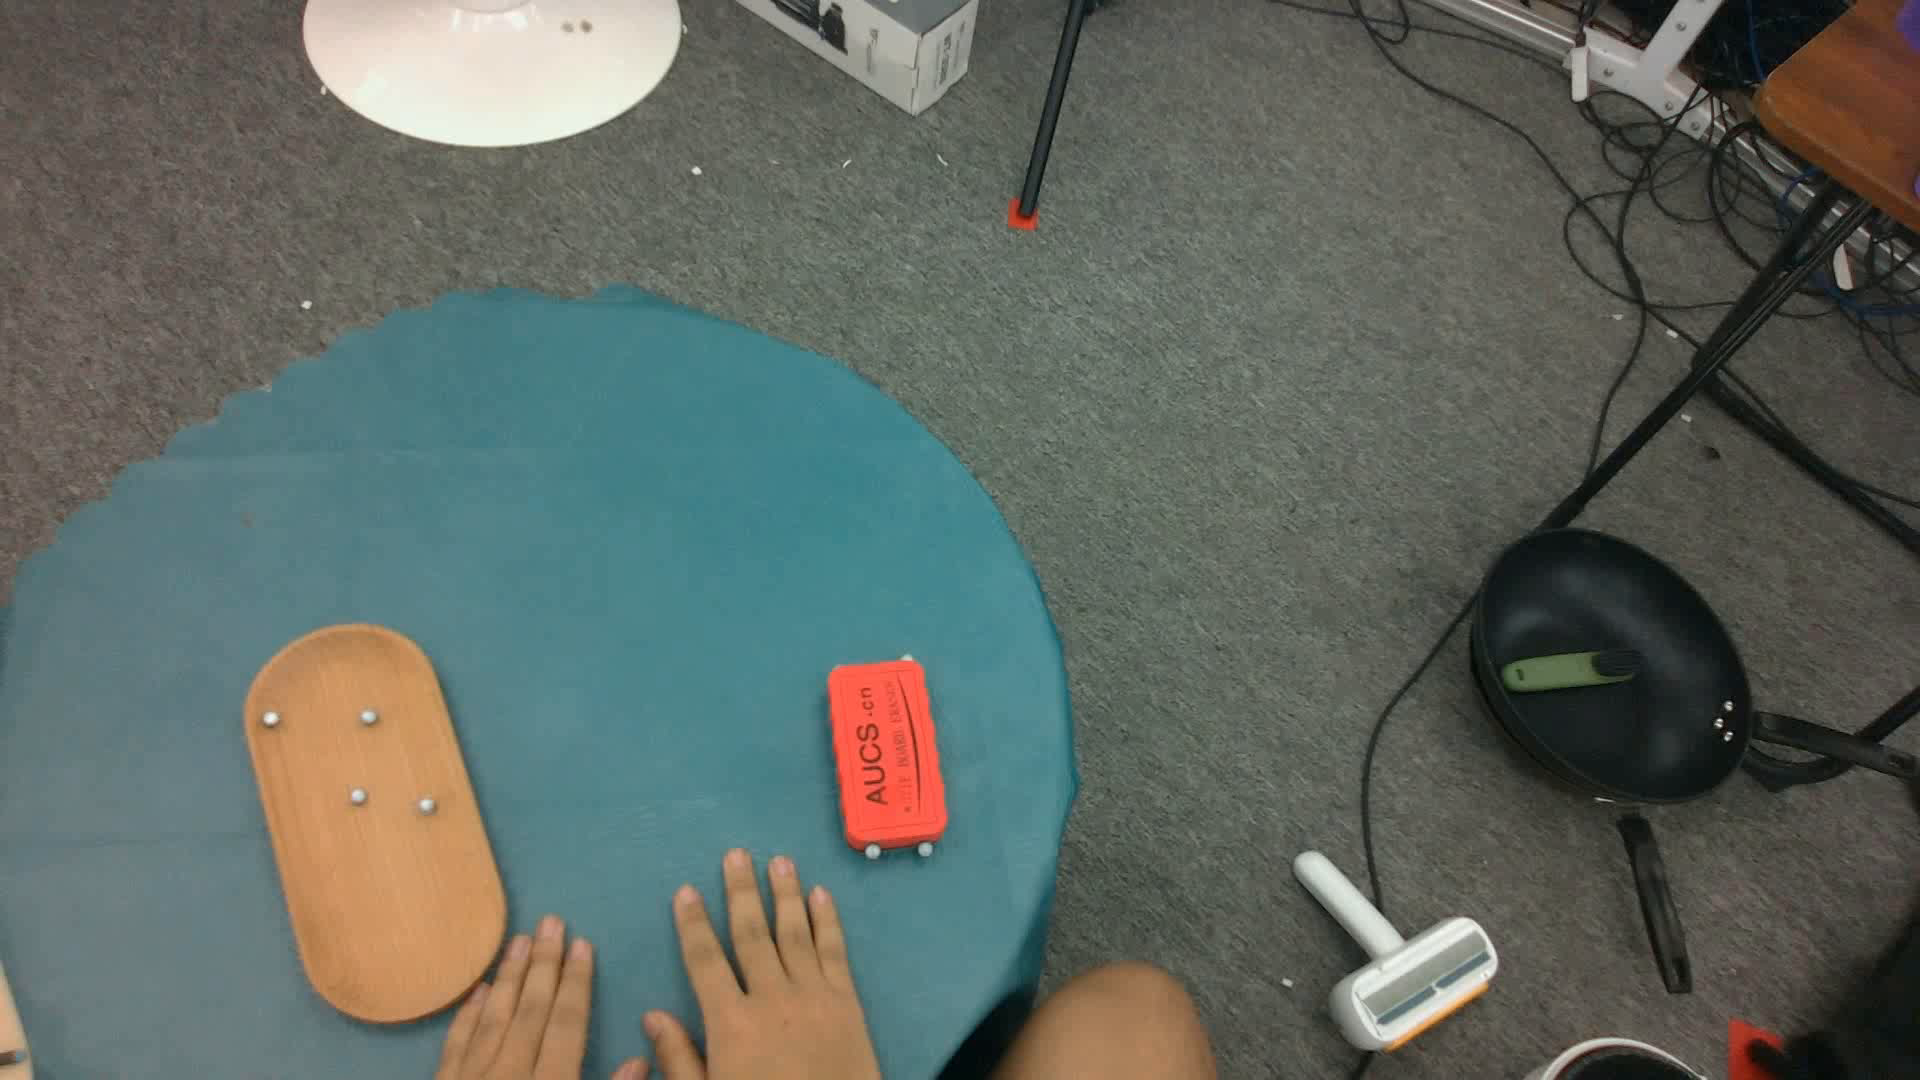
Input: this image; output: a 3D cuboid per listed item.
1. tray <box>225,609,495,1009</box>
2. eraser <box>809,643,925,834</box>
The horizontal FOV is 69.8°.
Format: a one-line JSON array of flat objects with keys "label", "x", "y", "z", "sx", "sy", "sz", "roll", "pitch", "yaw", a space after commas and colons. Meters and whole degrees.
[{"label": "tray", "x": -0.323, "y": 0.138, "z": 0.739, "sx": 0.102, "sy": 0.020, "sz": 0.231, "roll": -20, "pitch": 66, "yaw": -19}, {"label": "eraser", "x": -0.055, "y": 0.113, "z": 0.796, "sx": 0.059, "sy": 0.023, "sz": 0.108, "roll": -3, "pitch": 60, "yaw": -13}]
